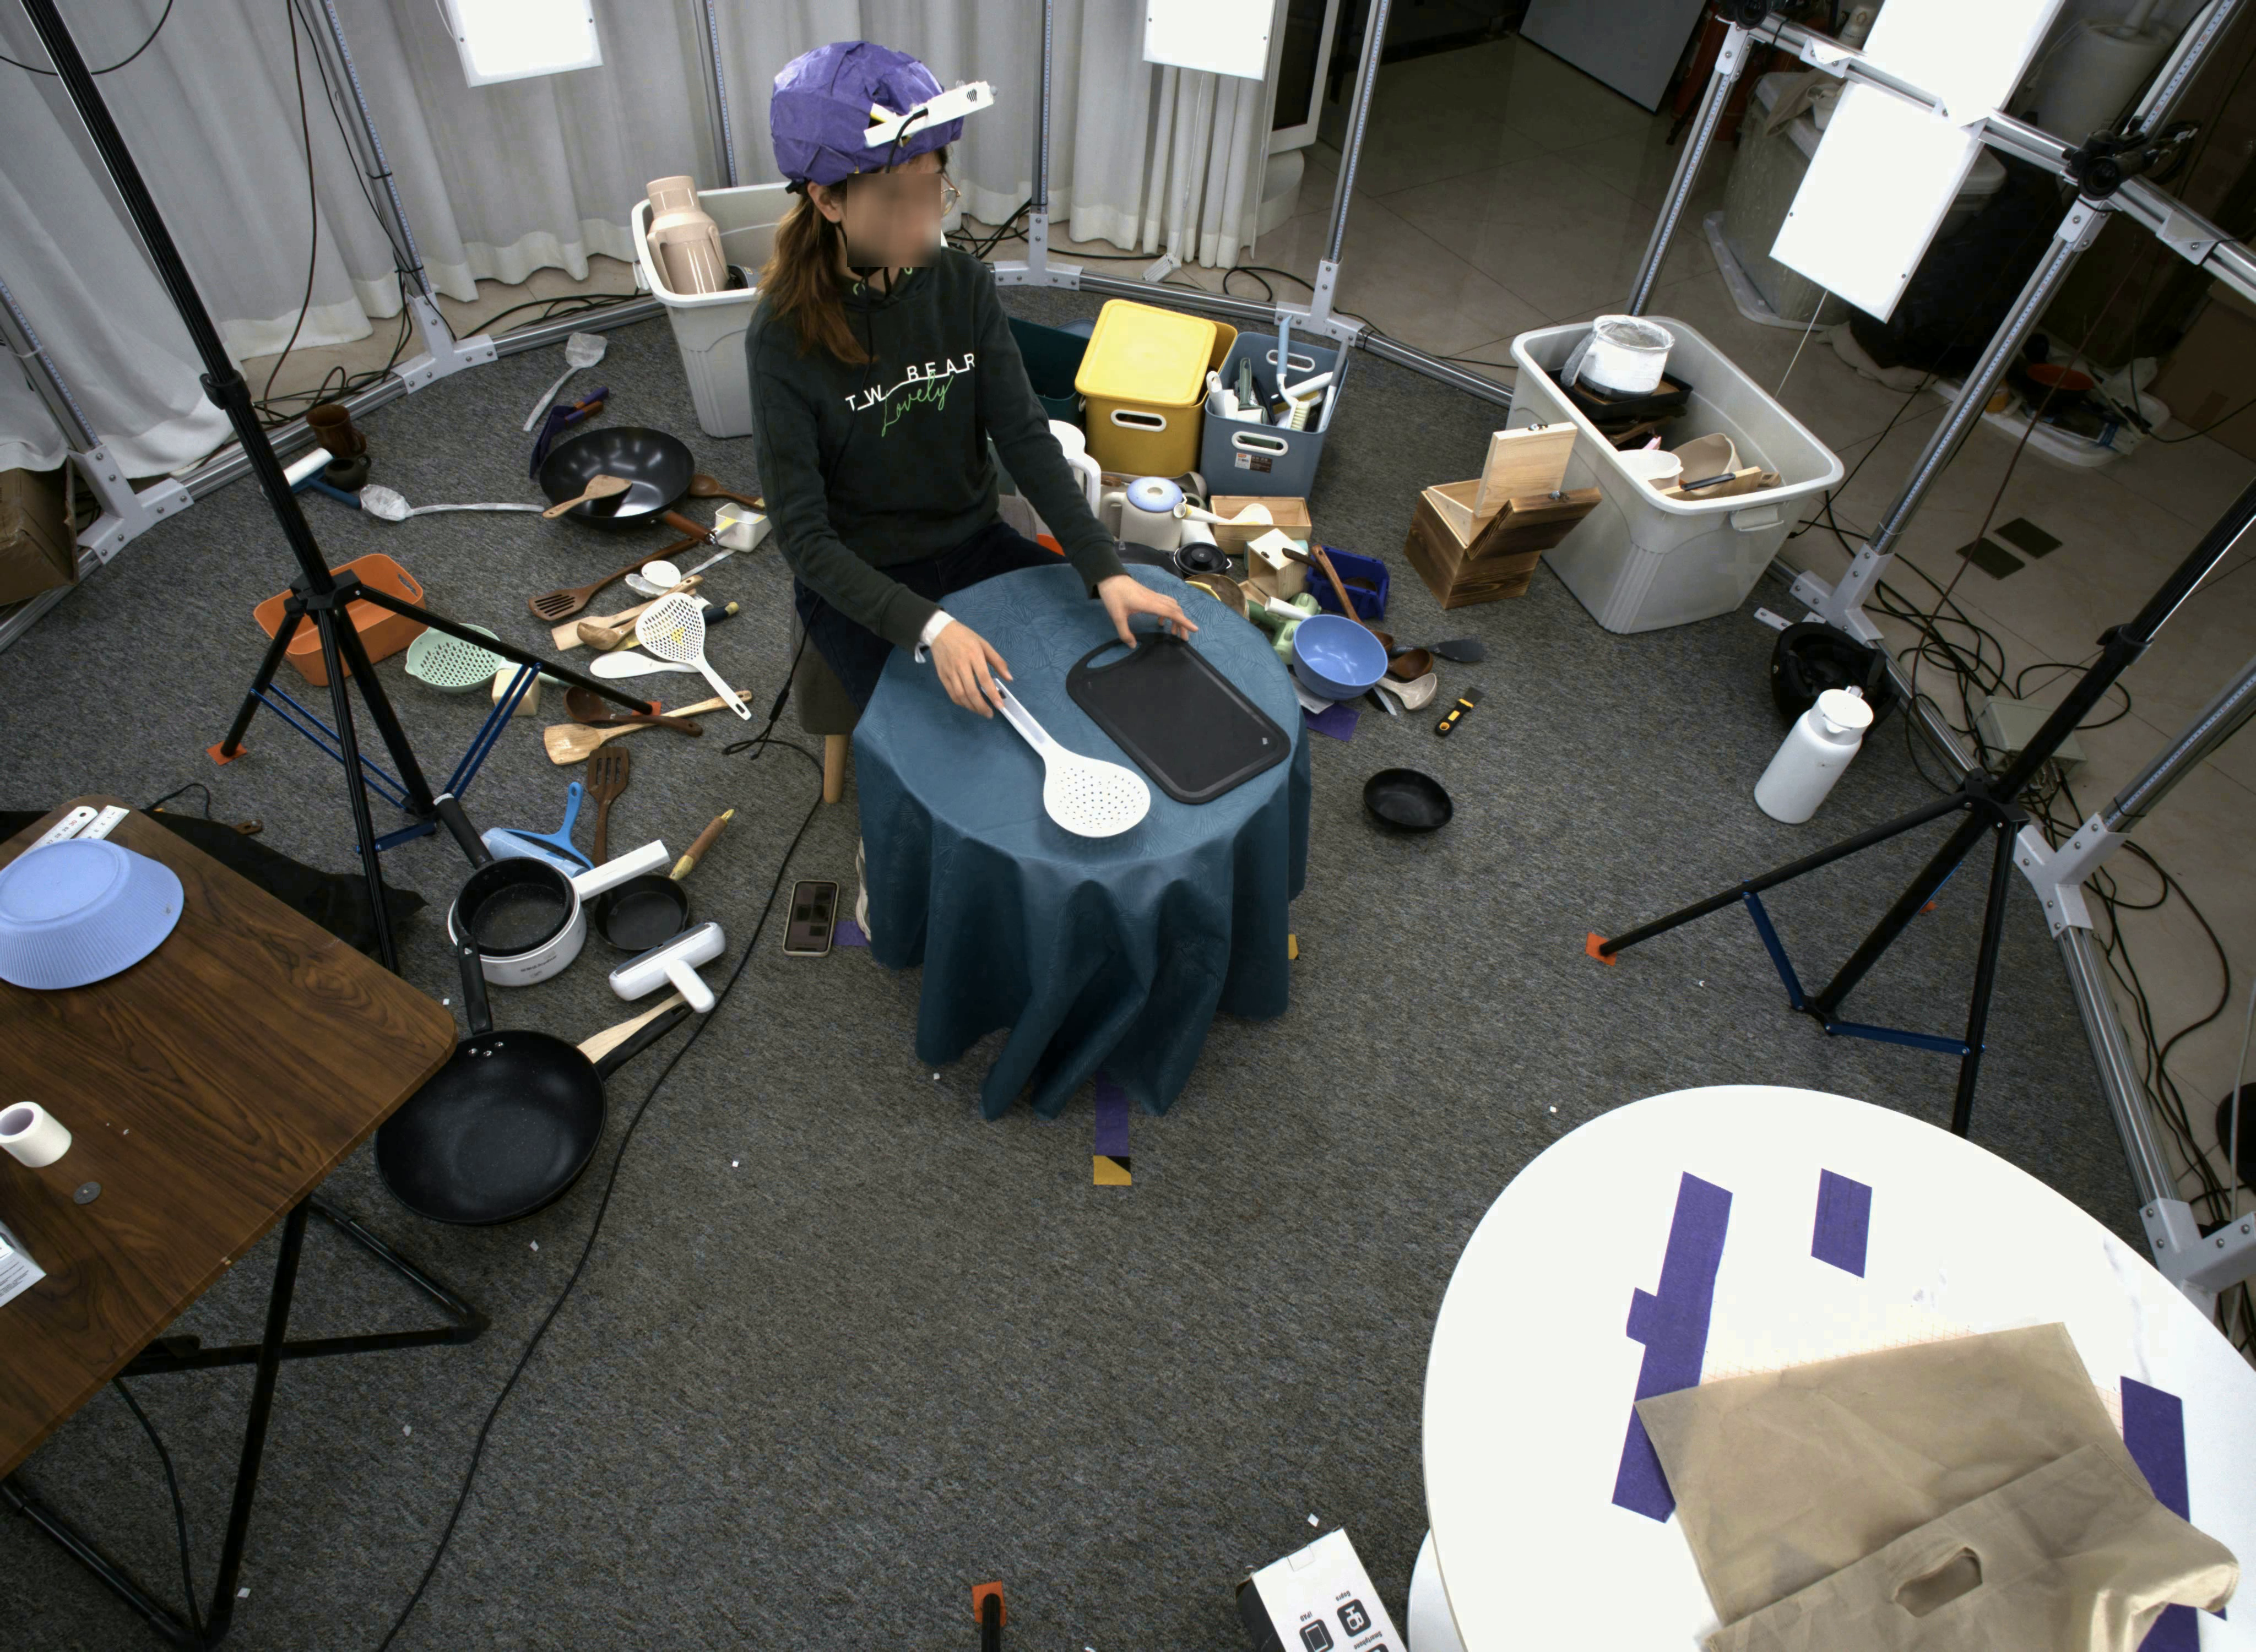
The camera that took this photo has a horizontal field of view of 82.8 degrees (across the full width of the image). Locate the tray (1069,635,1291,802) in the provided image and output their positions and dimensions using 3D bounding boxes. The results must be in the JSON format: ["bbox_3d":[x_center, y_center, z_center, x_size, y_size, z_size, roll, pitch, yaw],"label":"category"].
[{"bbox_3d":[0.065,-0.165,1.828,0.212,0.009,0.331,-27,55,-25],"label":"tray"}]

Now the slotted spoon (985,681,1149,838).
[{"bbox_3d":[-0.100,-0.096,1.731,0.136,0.044,0.357,-23,53,-24],"label":"slotted spoon"}]
